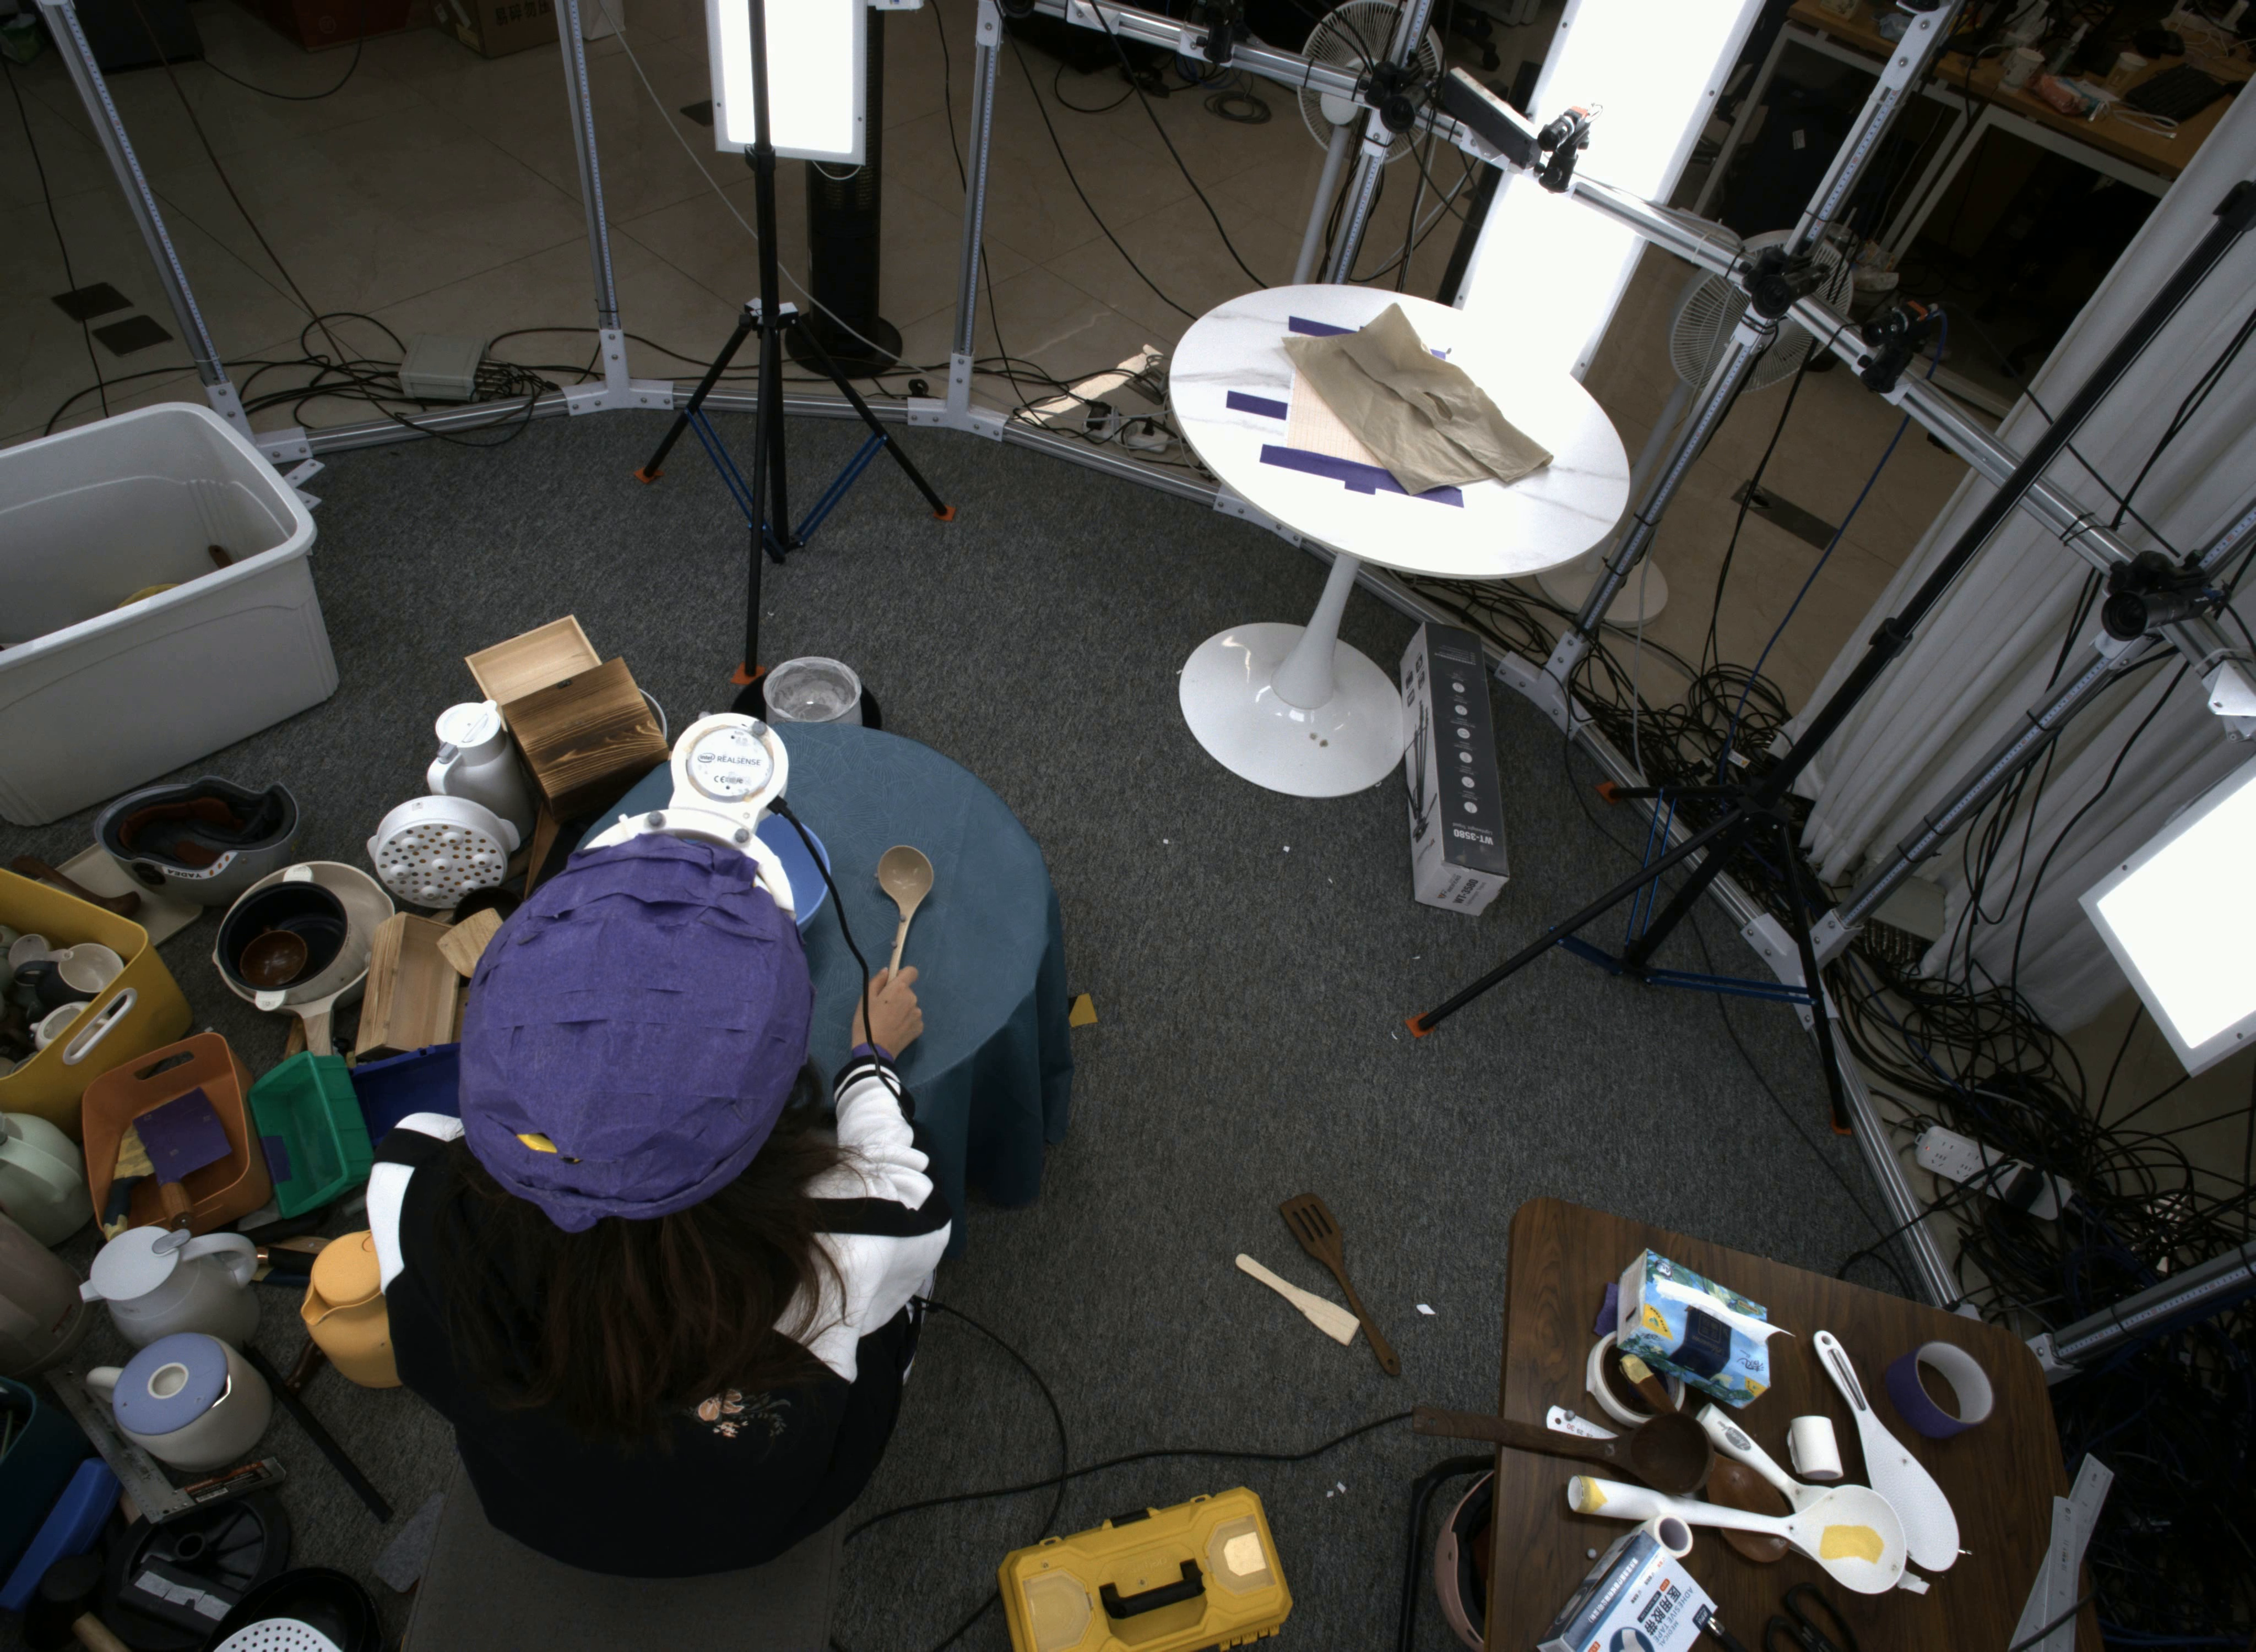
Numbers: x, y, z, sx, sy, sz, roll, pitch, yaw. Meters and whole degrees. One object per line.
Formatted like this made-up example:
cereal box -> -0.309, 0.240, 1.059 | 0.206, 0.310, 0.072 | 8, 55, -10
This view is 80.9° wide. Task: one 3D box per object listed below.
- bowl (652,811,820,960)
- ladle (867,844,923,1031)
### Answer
bowl -> -0.477, 0.086, 1.582 | 0.196, 0.097, 0.193 | 9, 52, -10
ladle -> -0.295, 0.126, 1.592 | 0.071, 0.075, 0.249 | -6, 44, 3
